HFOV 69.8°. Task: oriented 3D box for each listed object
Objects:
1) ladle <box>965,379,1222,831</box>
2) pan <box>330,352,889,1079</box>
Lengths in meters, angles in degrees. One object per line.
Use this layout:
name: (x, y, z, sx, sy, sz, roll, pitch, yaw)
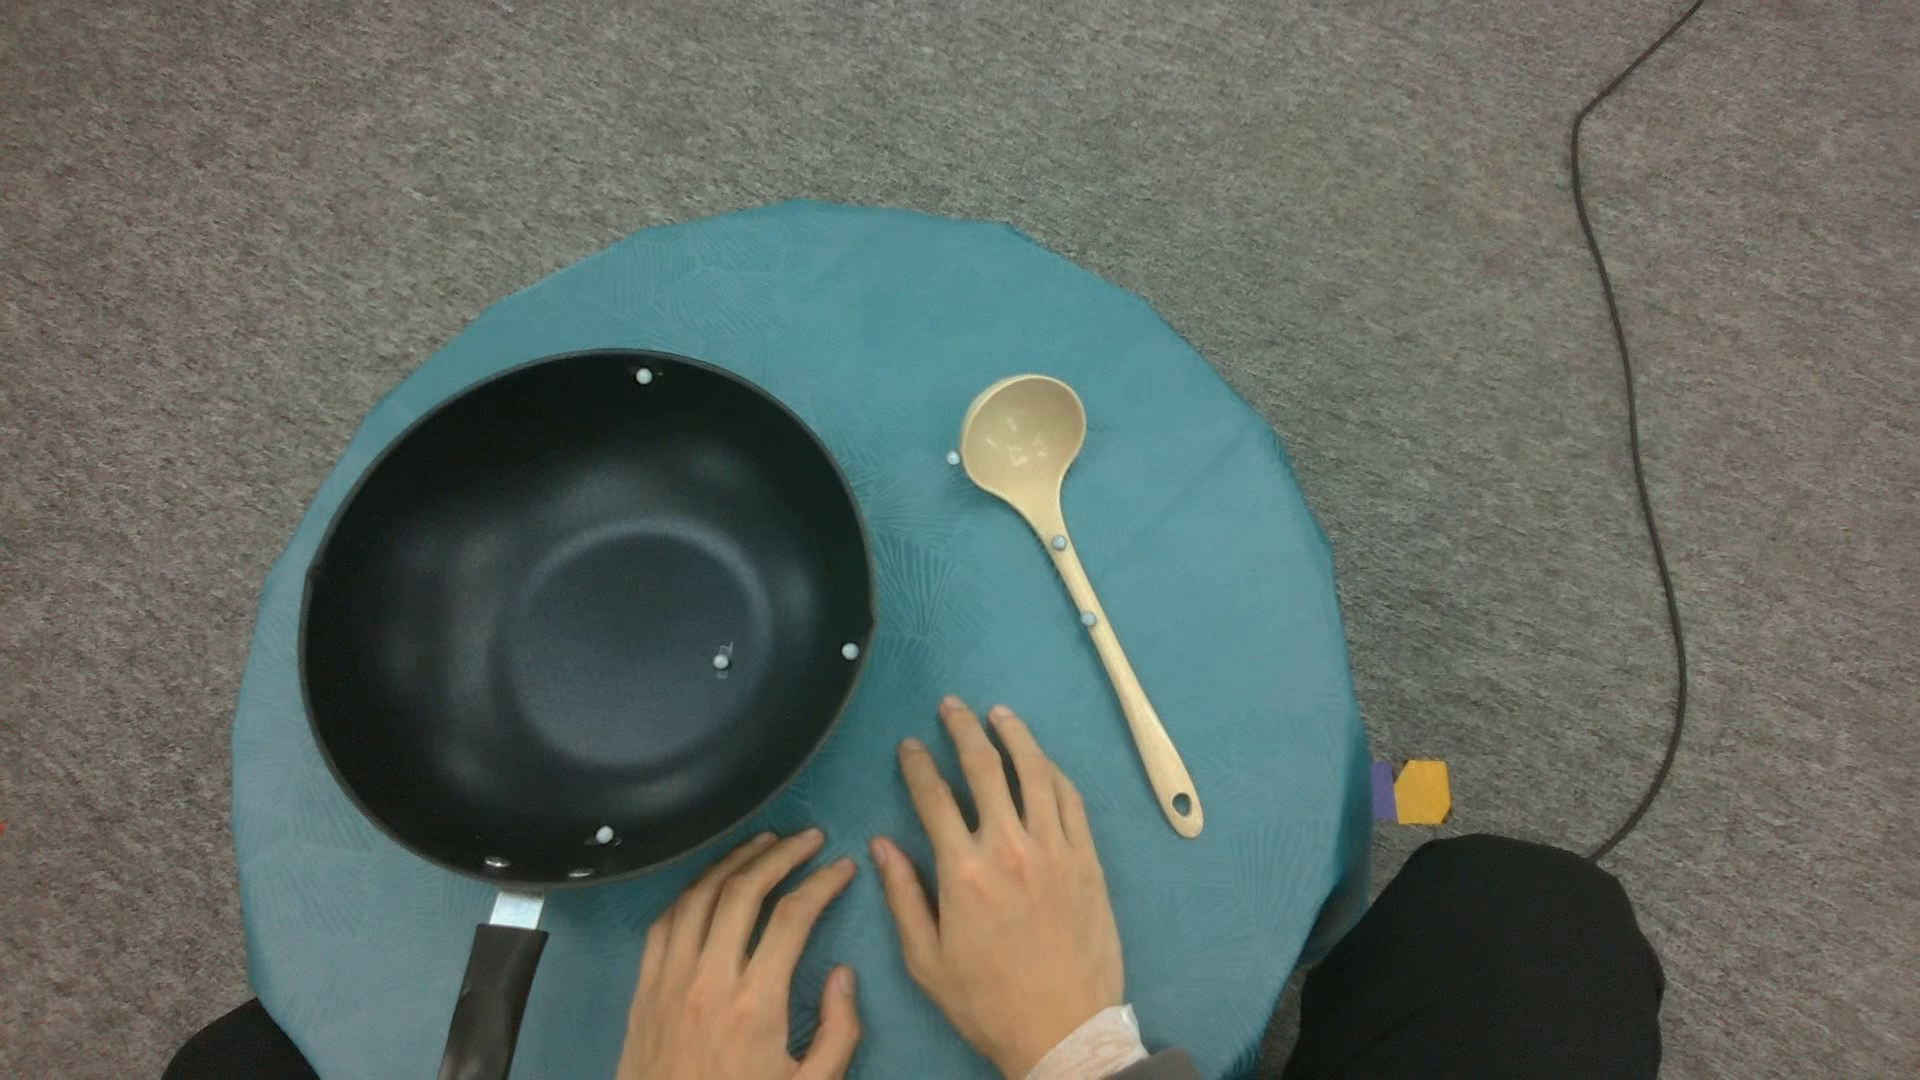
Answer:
ladle: (0.079, 0.028, 0.720, 0.072, 0.072, 0.255, -21, 67, -13)
pan: (-0.187, 0.128, 0.692, 0.288, 0.086, 0.465, 6, 69, 6)
